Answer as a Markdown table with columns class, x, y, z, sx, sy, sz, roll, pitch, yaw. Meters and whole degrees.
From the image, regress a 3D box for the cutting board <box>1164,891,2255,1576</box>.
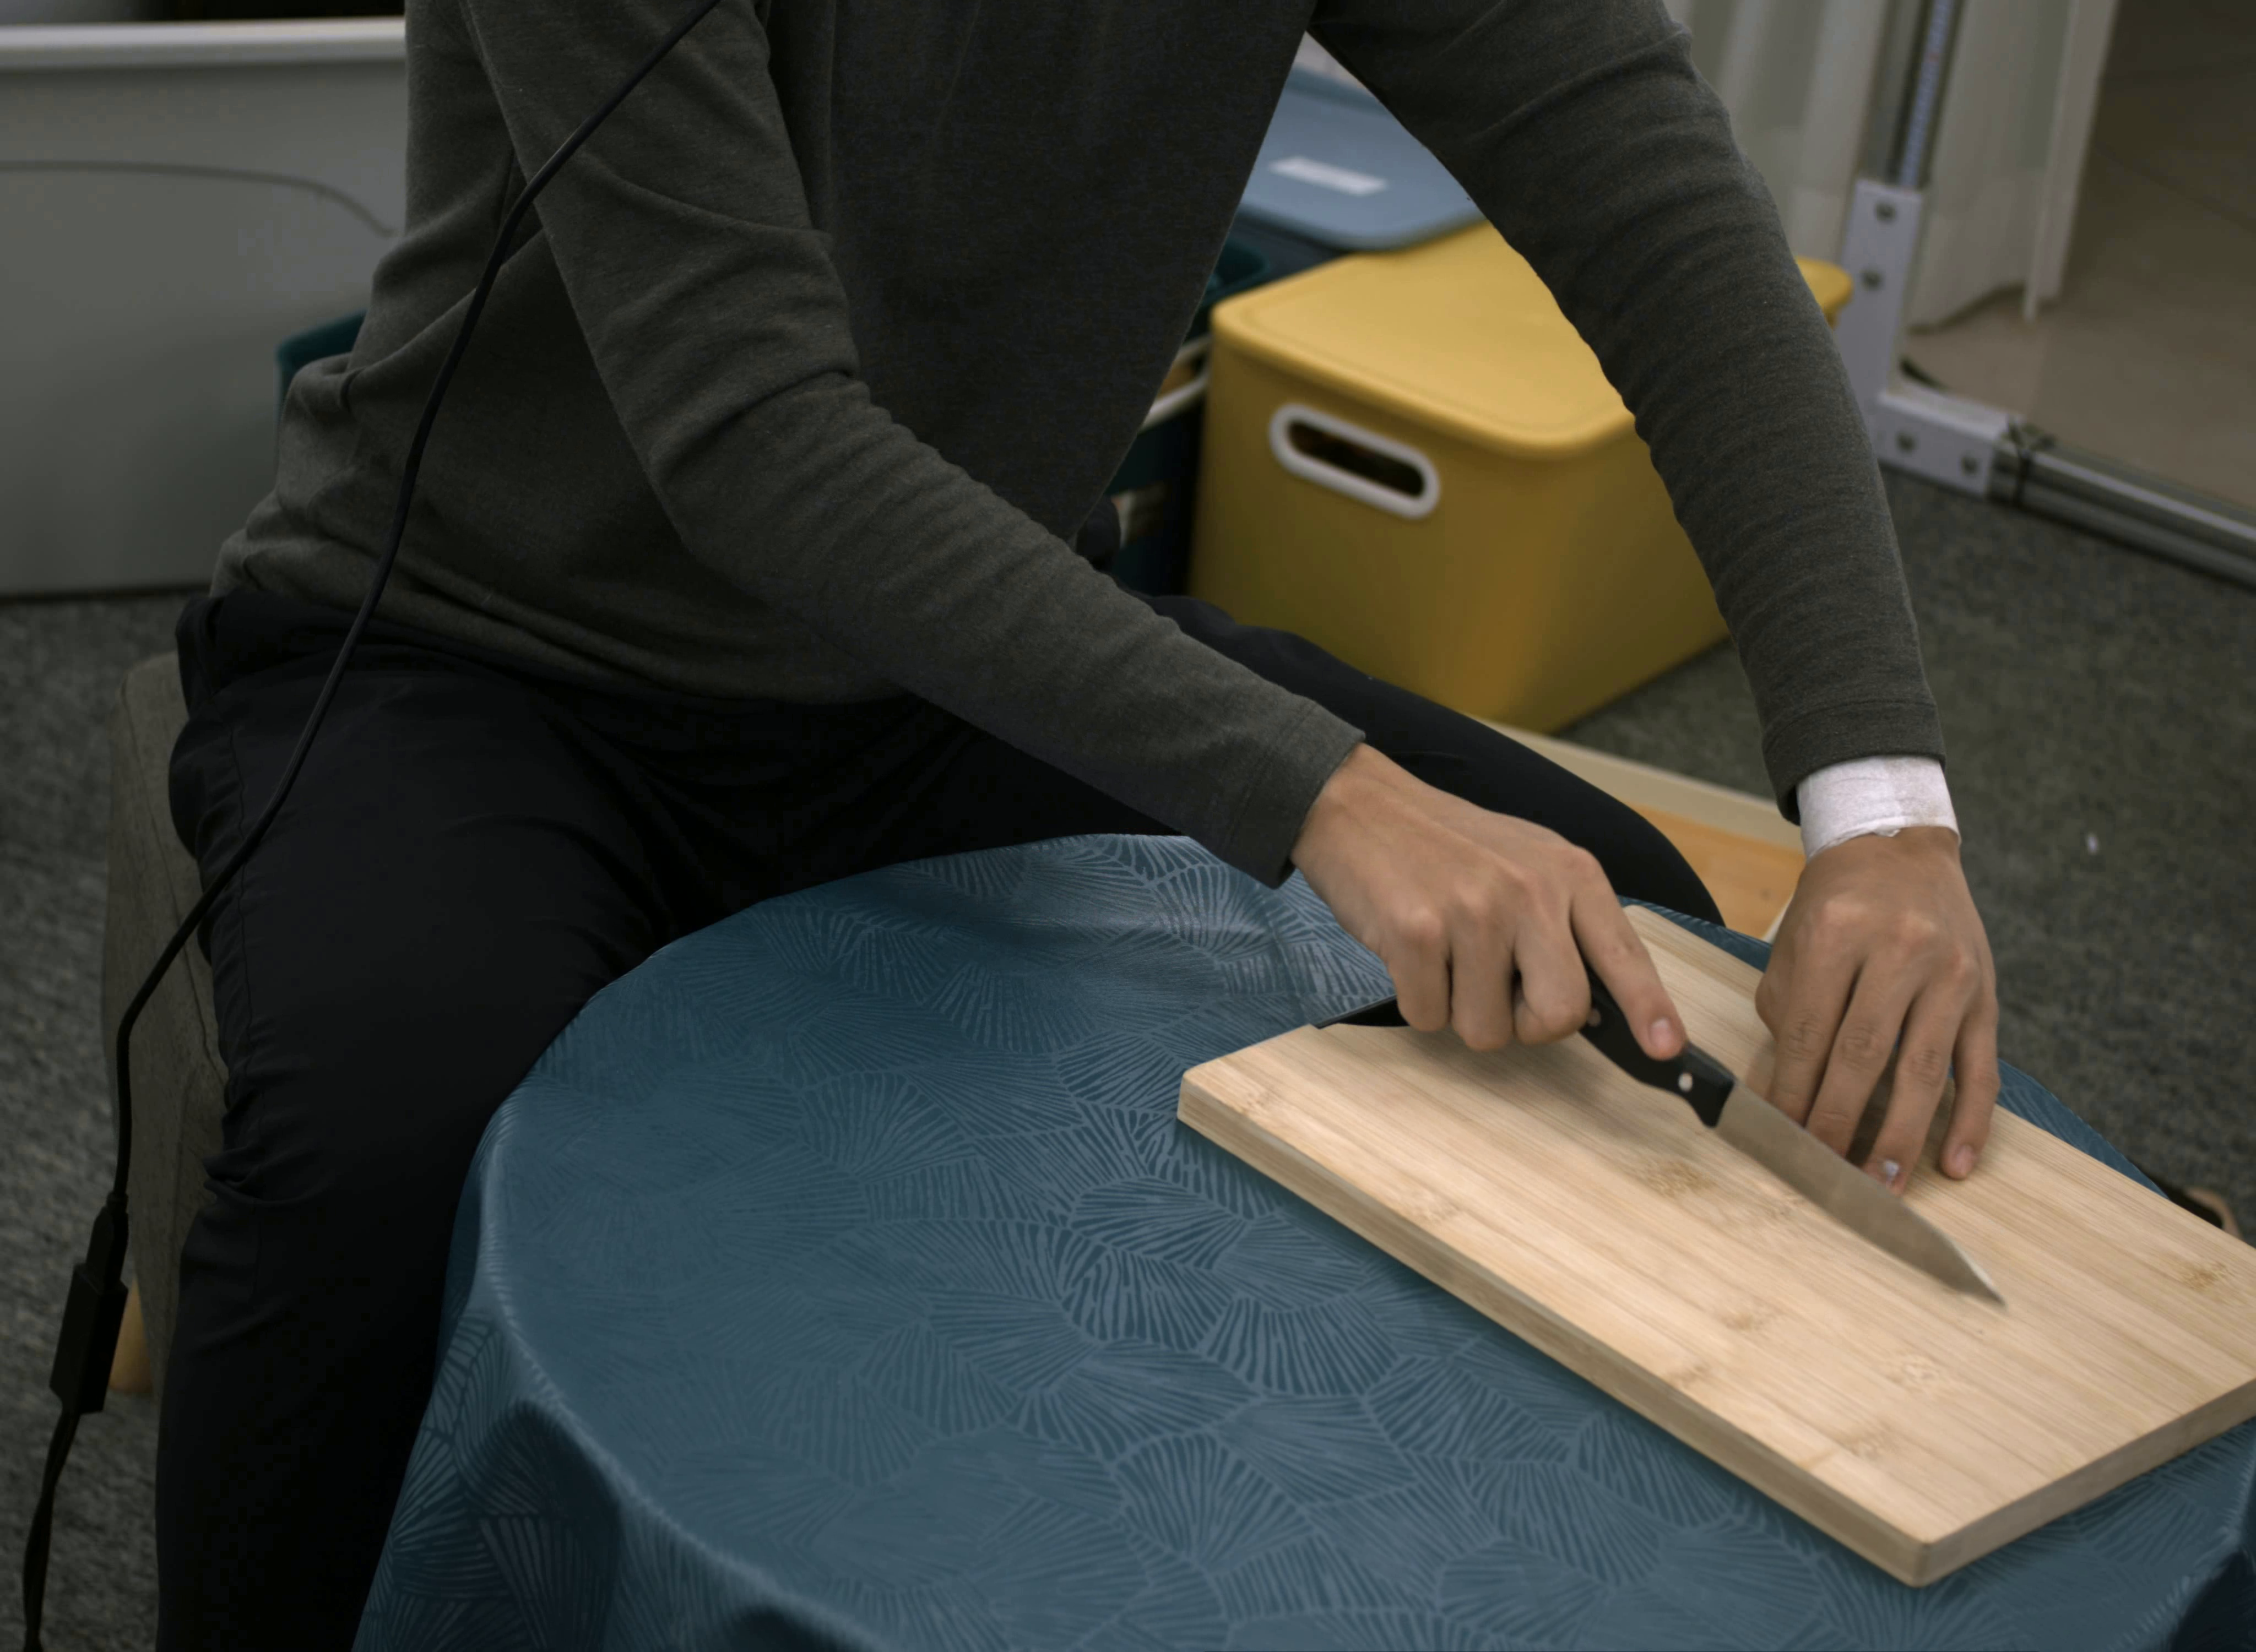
| class | x | y | z | sx | sy | sz | roll | pitch | yaw |
| --- | --- | --- | --- | --- | --- | --- | --- | --- | --- |
| cutting board | 0.214 | 0.130 | 1.822 | 0.249 | 0.023 | 0.351 | -18 | 36 | -40 |

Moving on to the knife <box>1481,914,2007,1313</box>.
| class | x | y | z | sx | sy | sz | roll | pitch | yaw |
| --- | --- | --- | --- | --- | --- | --- | --- | --- | --- |
| knife | 0.209 | 0.096 | 1.814 | 0.016 | 0.024 | 0.240 | -20 | 45 | -41 |
